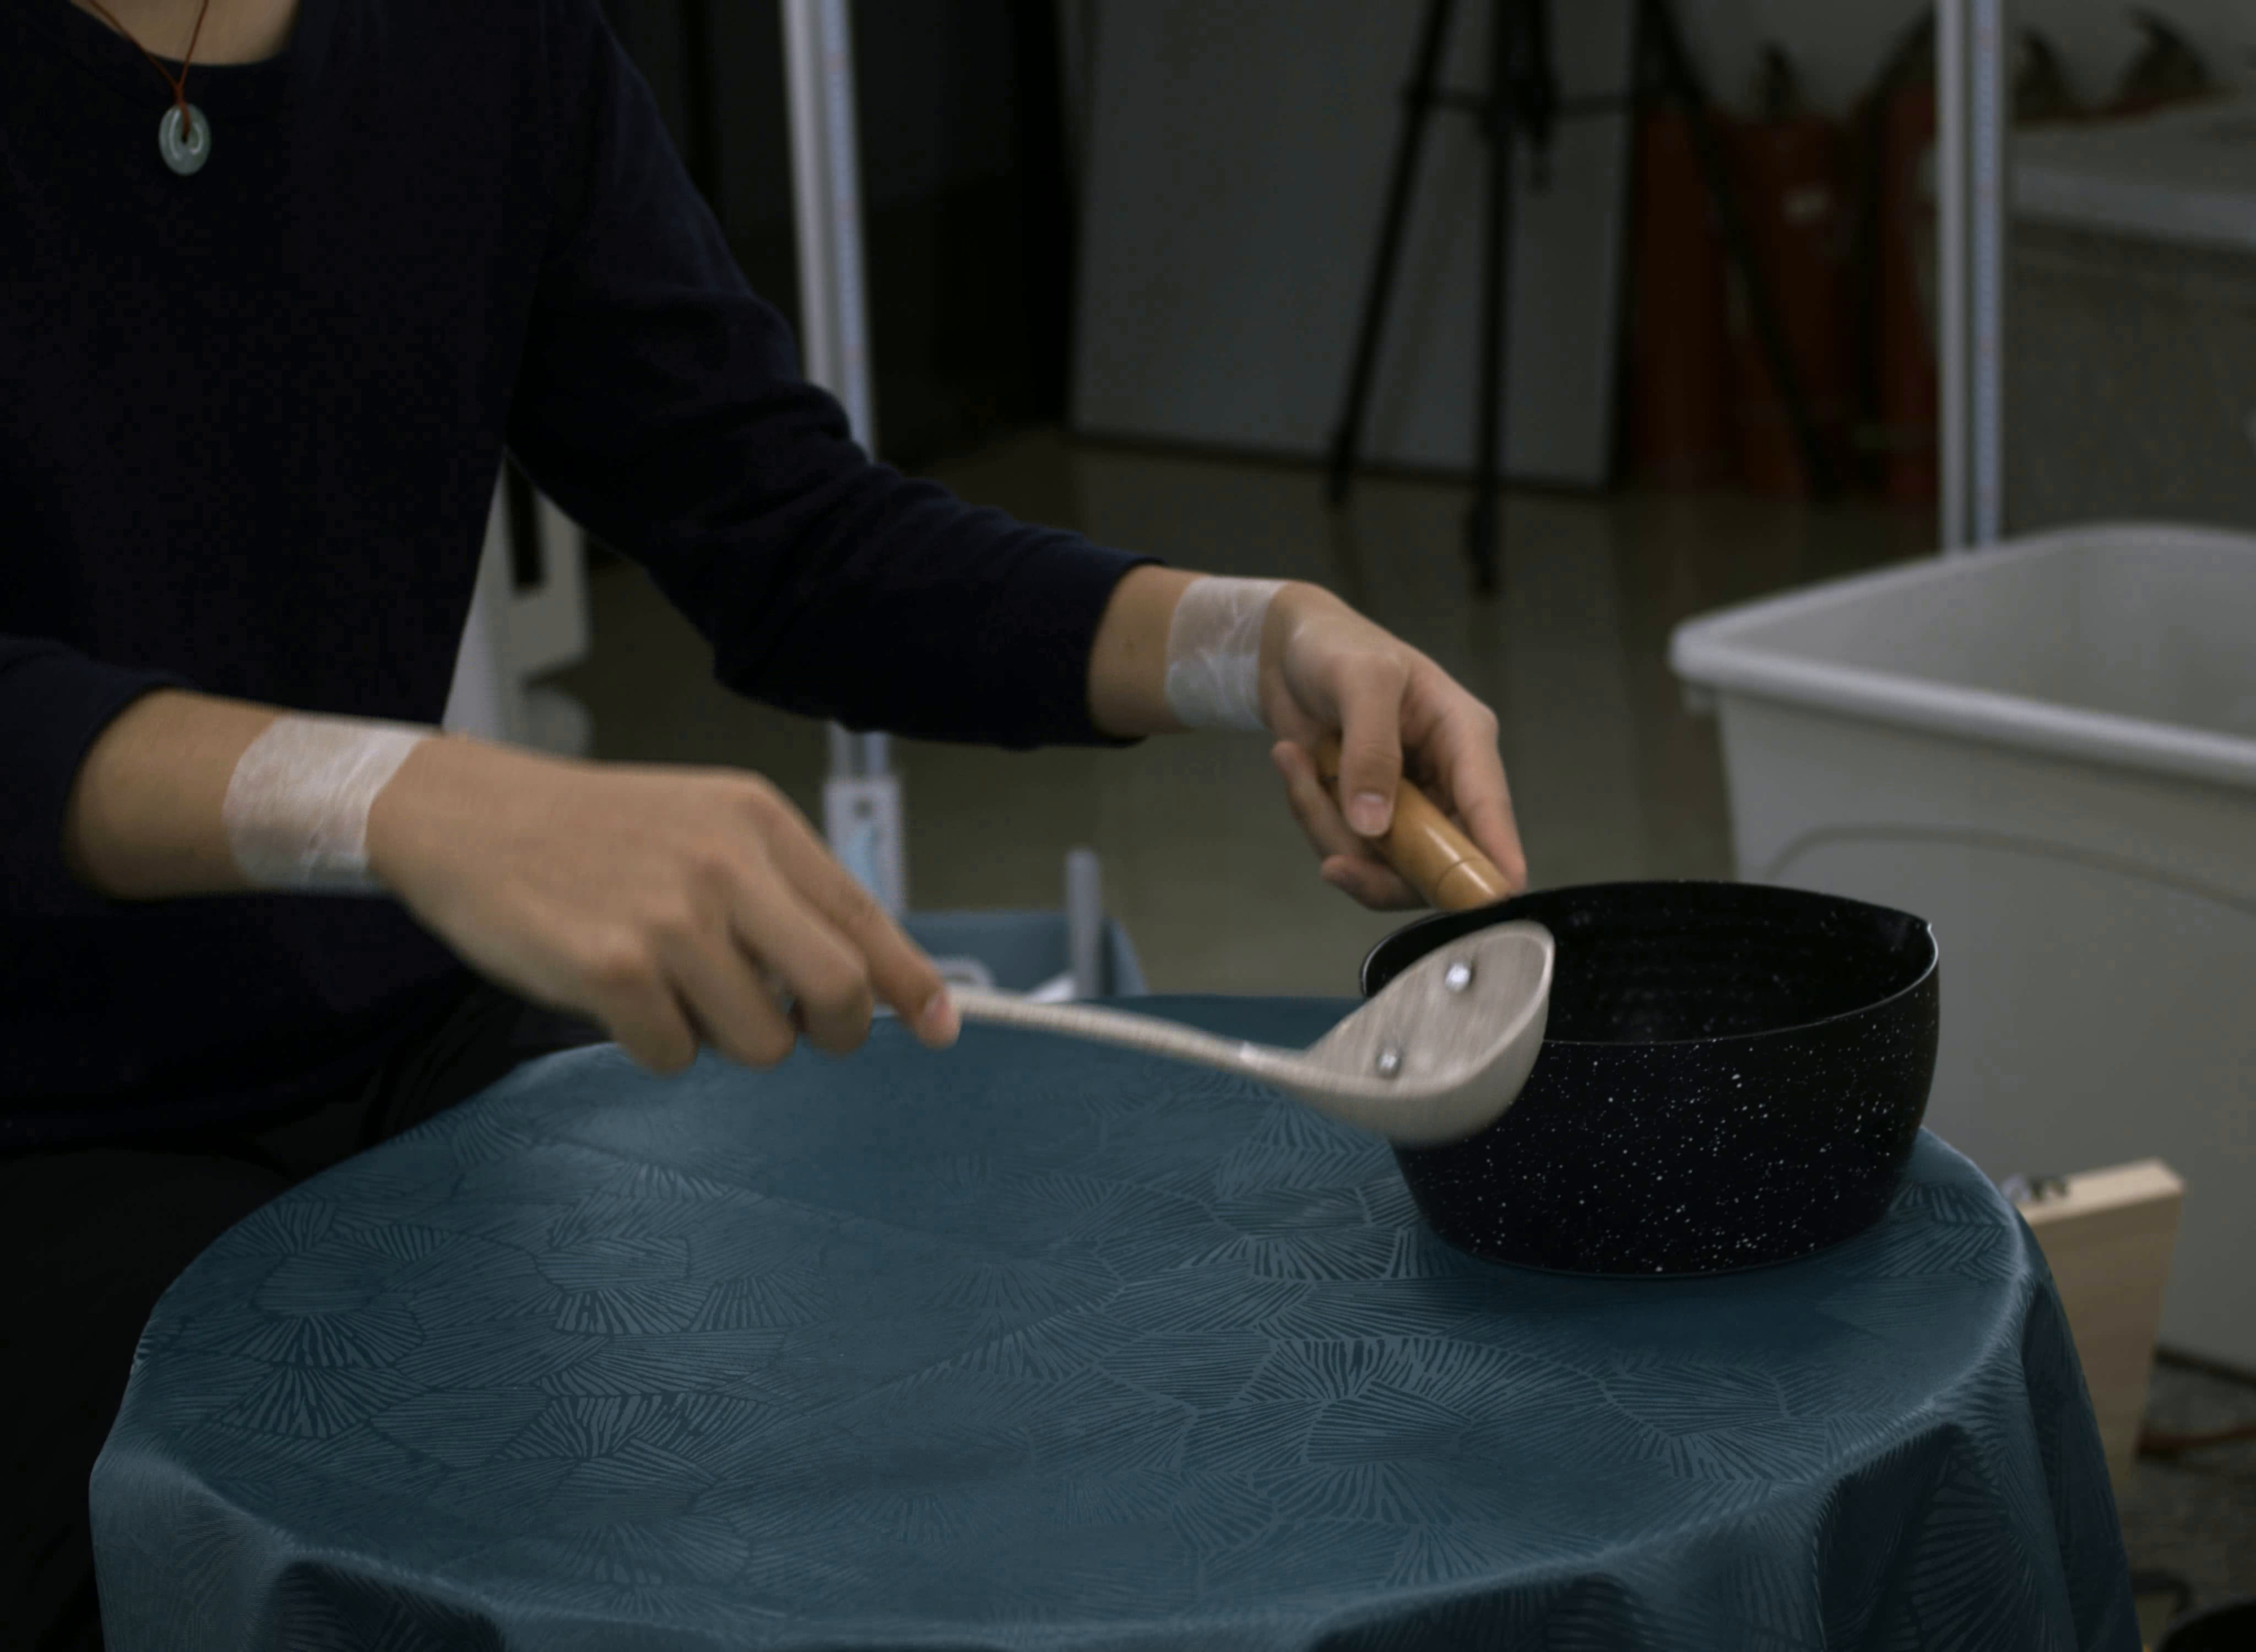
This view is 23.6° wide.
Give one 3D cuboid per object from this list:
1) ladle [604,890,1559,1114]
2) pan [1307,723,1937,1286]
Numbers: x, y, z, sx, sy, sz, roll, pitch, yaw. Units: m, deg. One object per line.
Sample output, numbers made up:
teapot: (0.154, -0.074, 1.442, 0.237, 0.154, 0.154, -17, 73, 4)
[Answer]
ladle: (-0.010, 0.028, 1.523, 0.269, 0.070, 0.090, 12, 11, -16)
pan: (0.135, 0.053, 1.778, 0.203, 0.109, 0.346, -10, 16, -20)
